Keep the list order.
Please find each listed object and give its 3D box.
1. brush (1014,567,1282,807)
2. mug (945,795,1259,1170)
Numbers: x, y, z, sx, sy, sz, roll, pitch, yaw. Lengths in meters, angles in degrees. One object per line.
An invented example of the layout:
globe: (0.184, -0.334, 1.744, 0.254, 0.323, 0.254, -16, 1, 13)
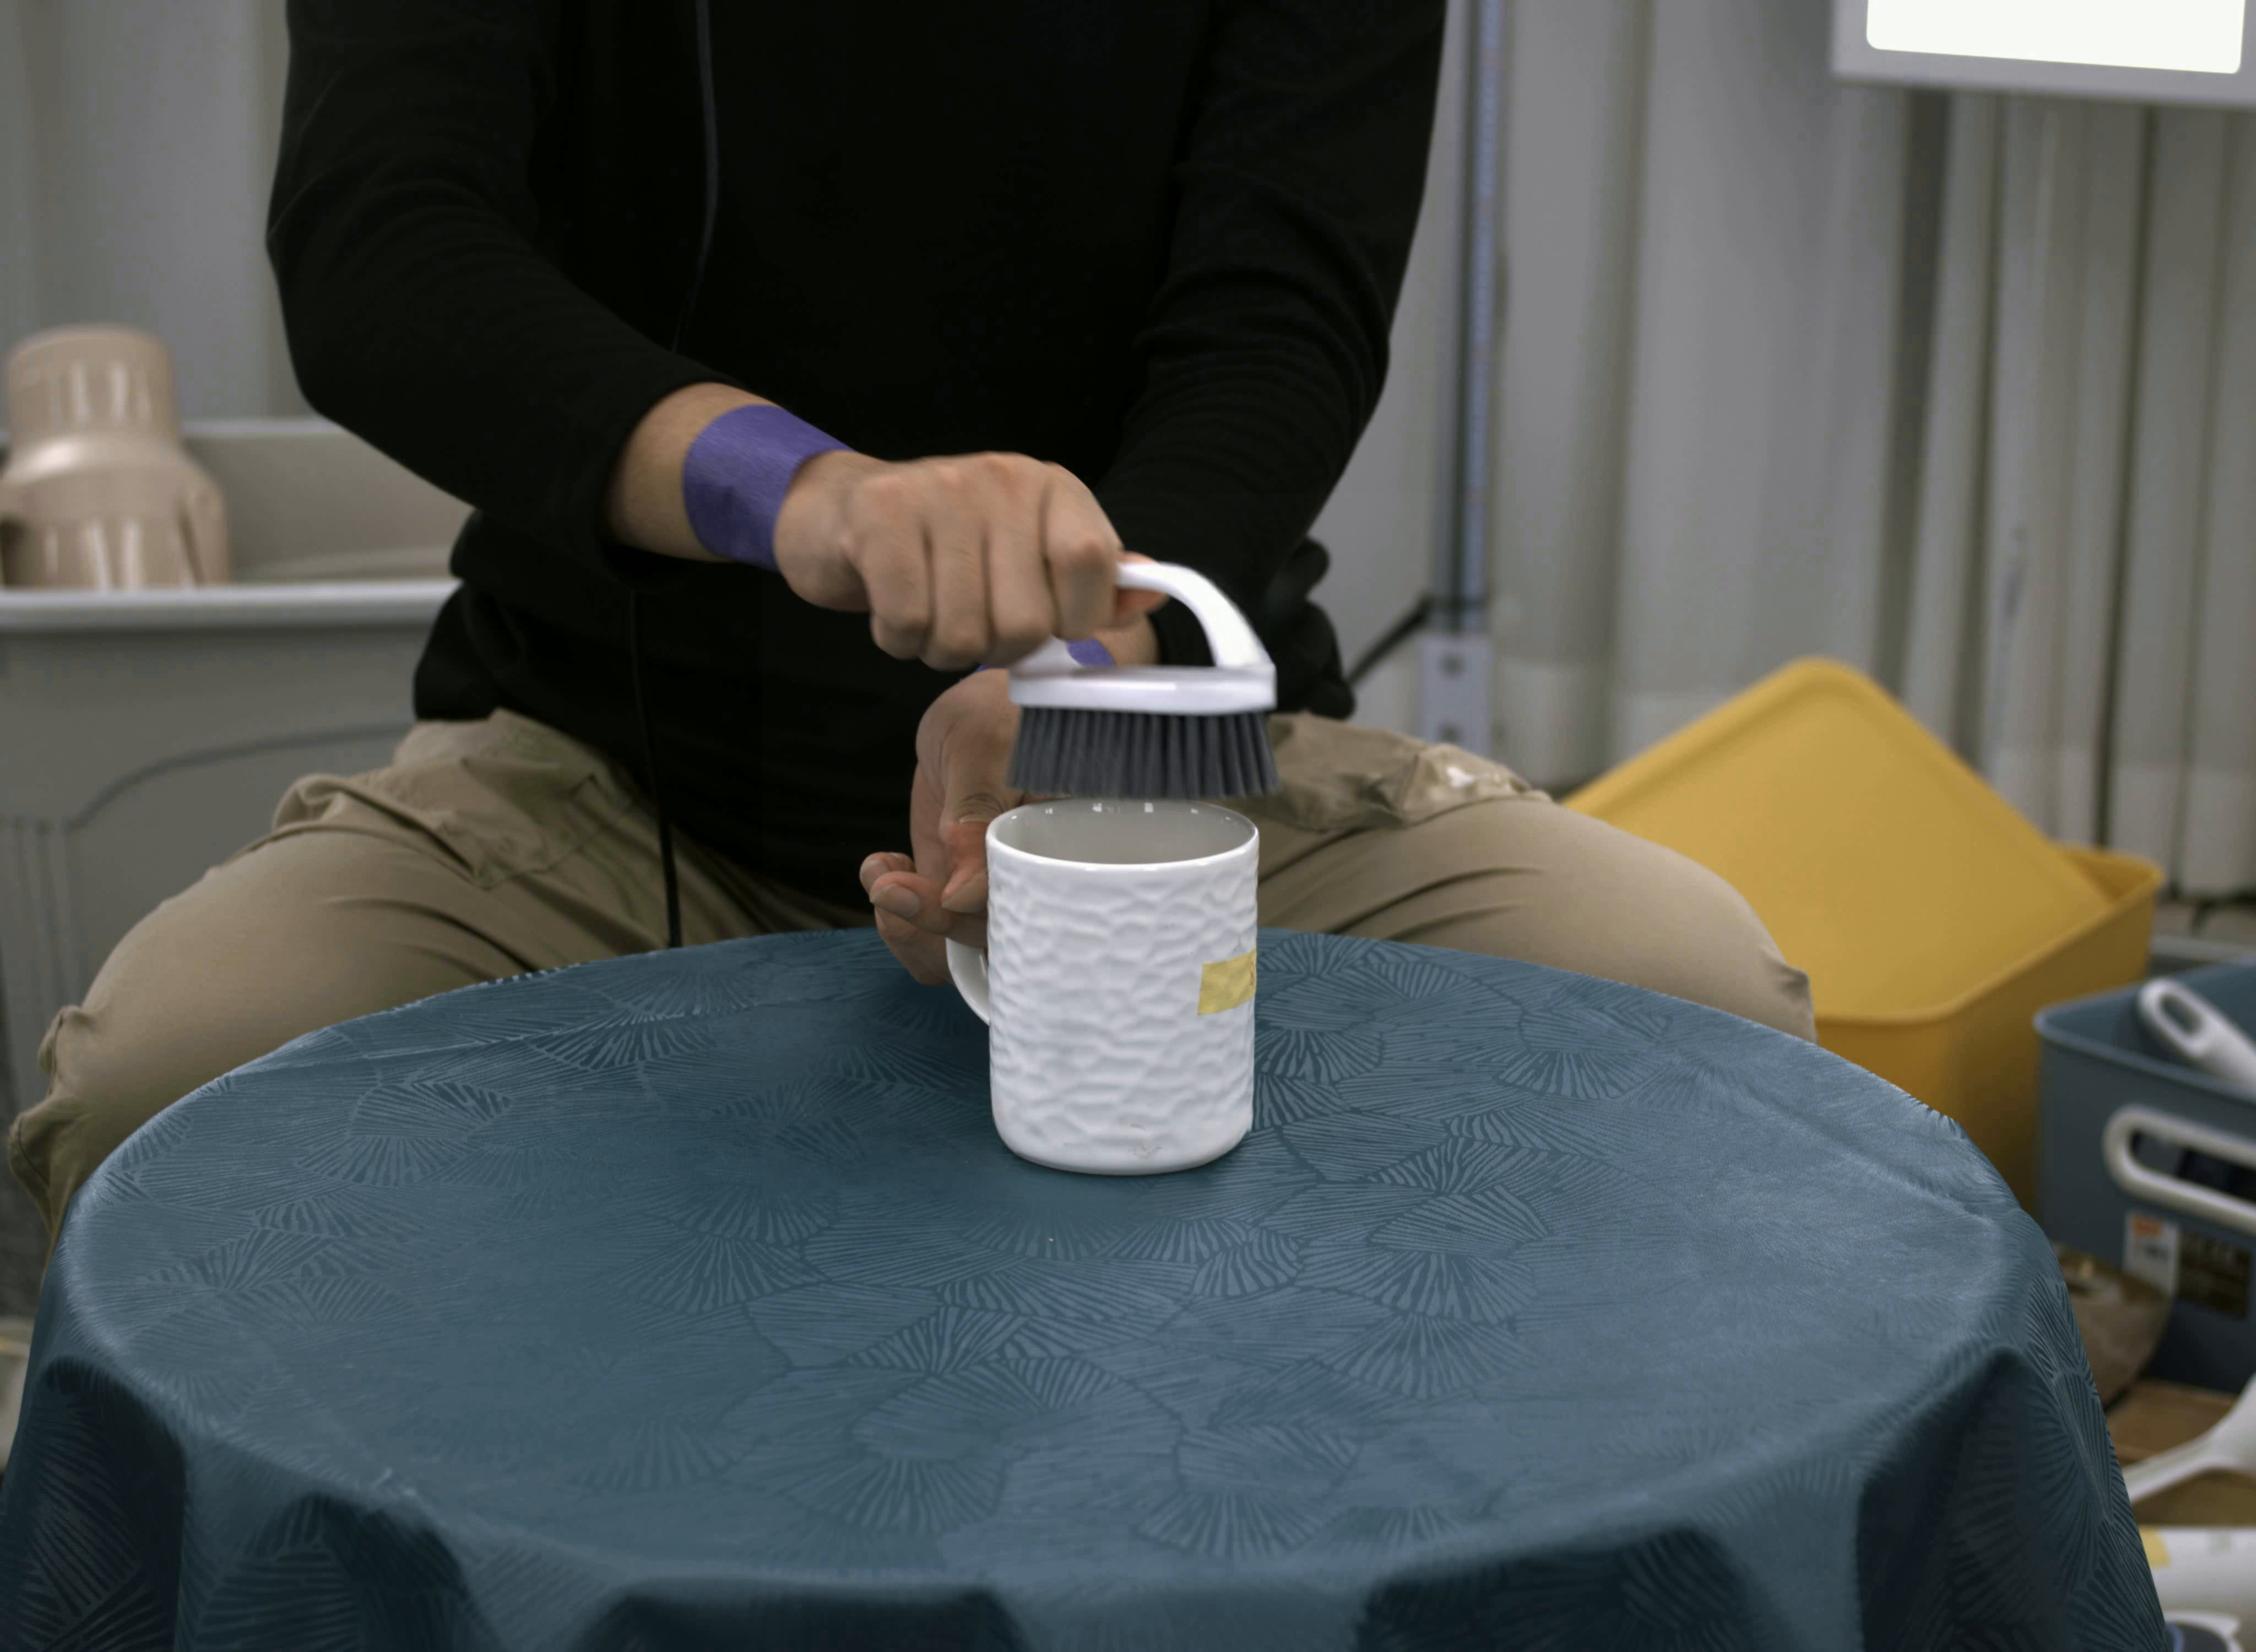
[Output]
brush: (0.005, -0.045, 1.656, 0.098, 0.073, 0.050, 6, 9, 44)
mug: (-0.013, 0.045, 1.667, 0.116, 0.103, 0.085, 15, 22, 41)
